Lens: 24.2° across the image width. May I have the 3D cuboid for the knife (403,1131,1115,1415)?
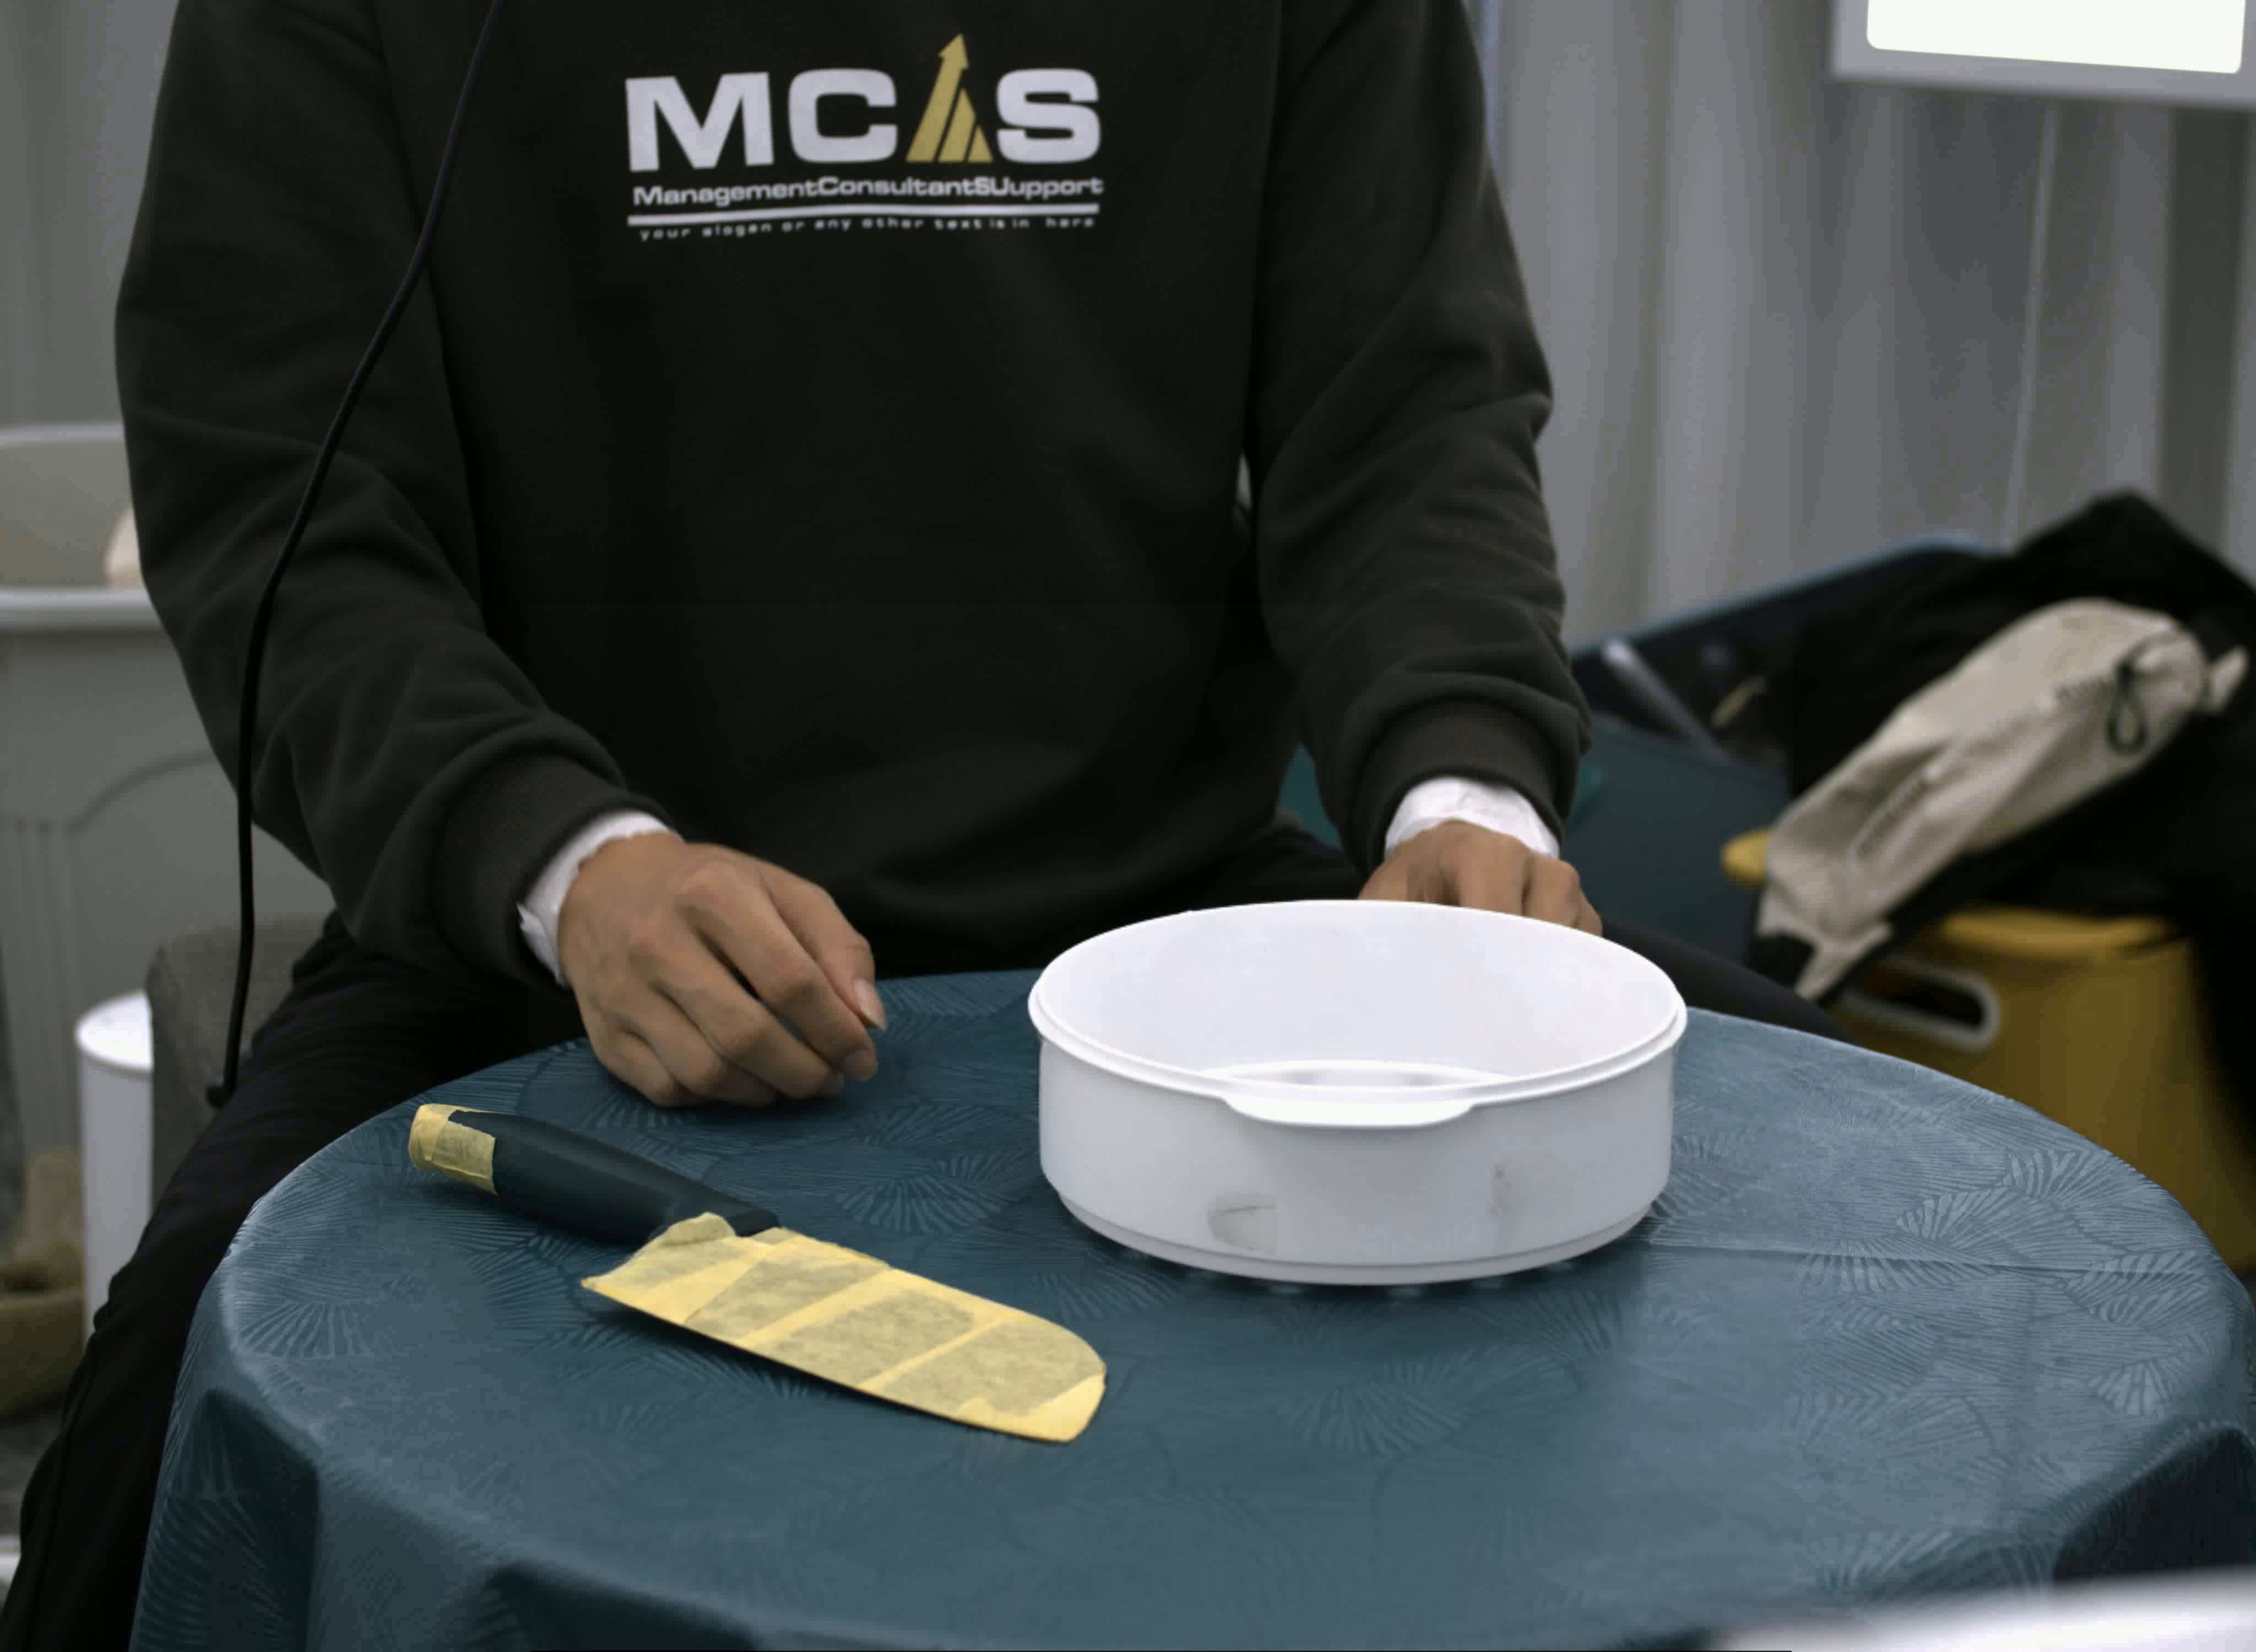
[{"bbox_3d":[-0.117,0.131,1.525,0.285,0.027,0.081,14,19,38],"label":"knife"}]

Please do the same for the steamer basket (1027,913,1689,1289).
[{"bbox_3d":[0.069,0.083,1.607,0.201,0.070,0.230,2,14,4],"label":"steamer basket"}]
